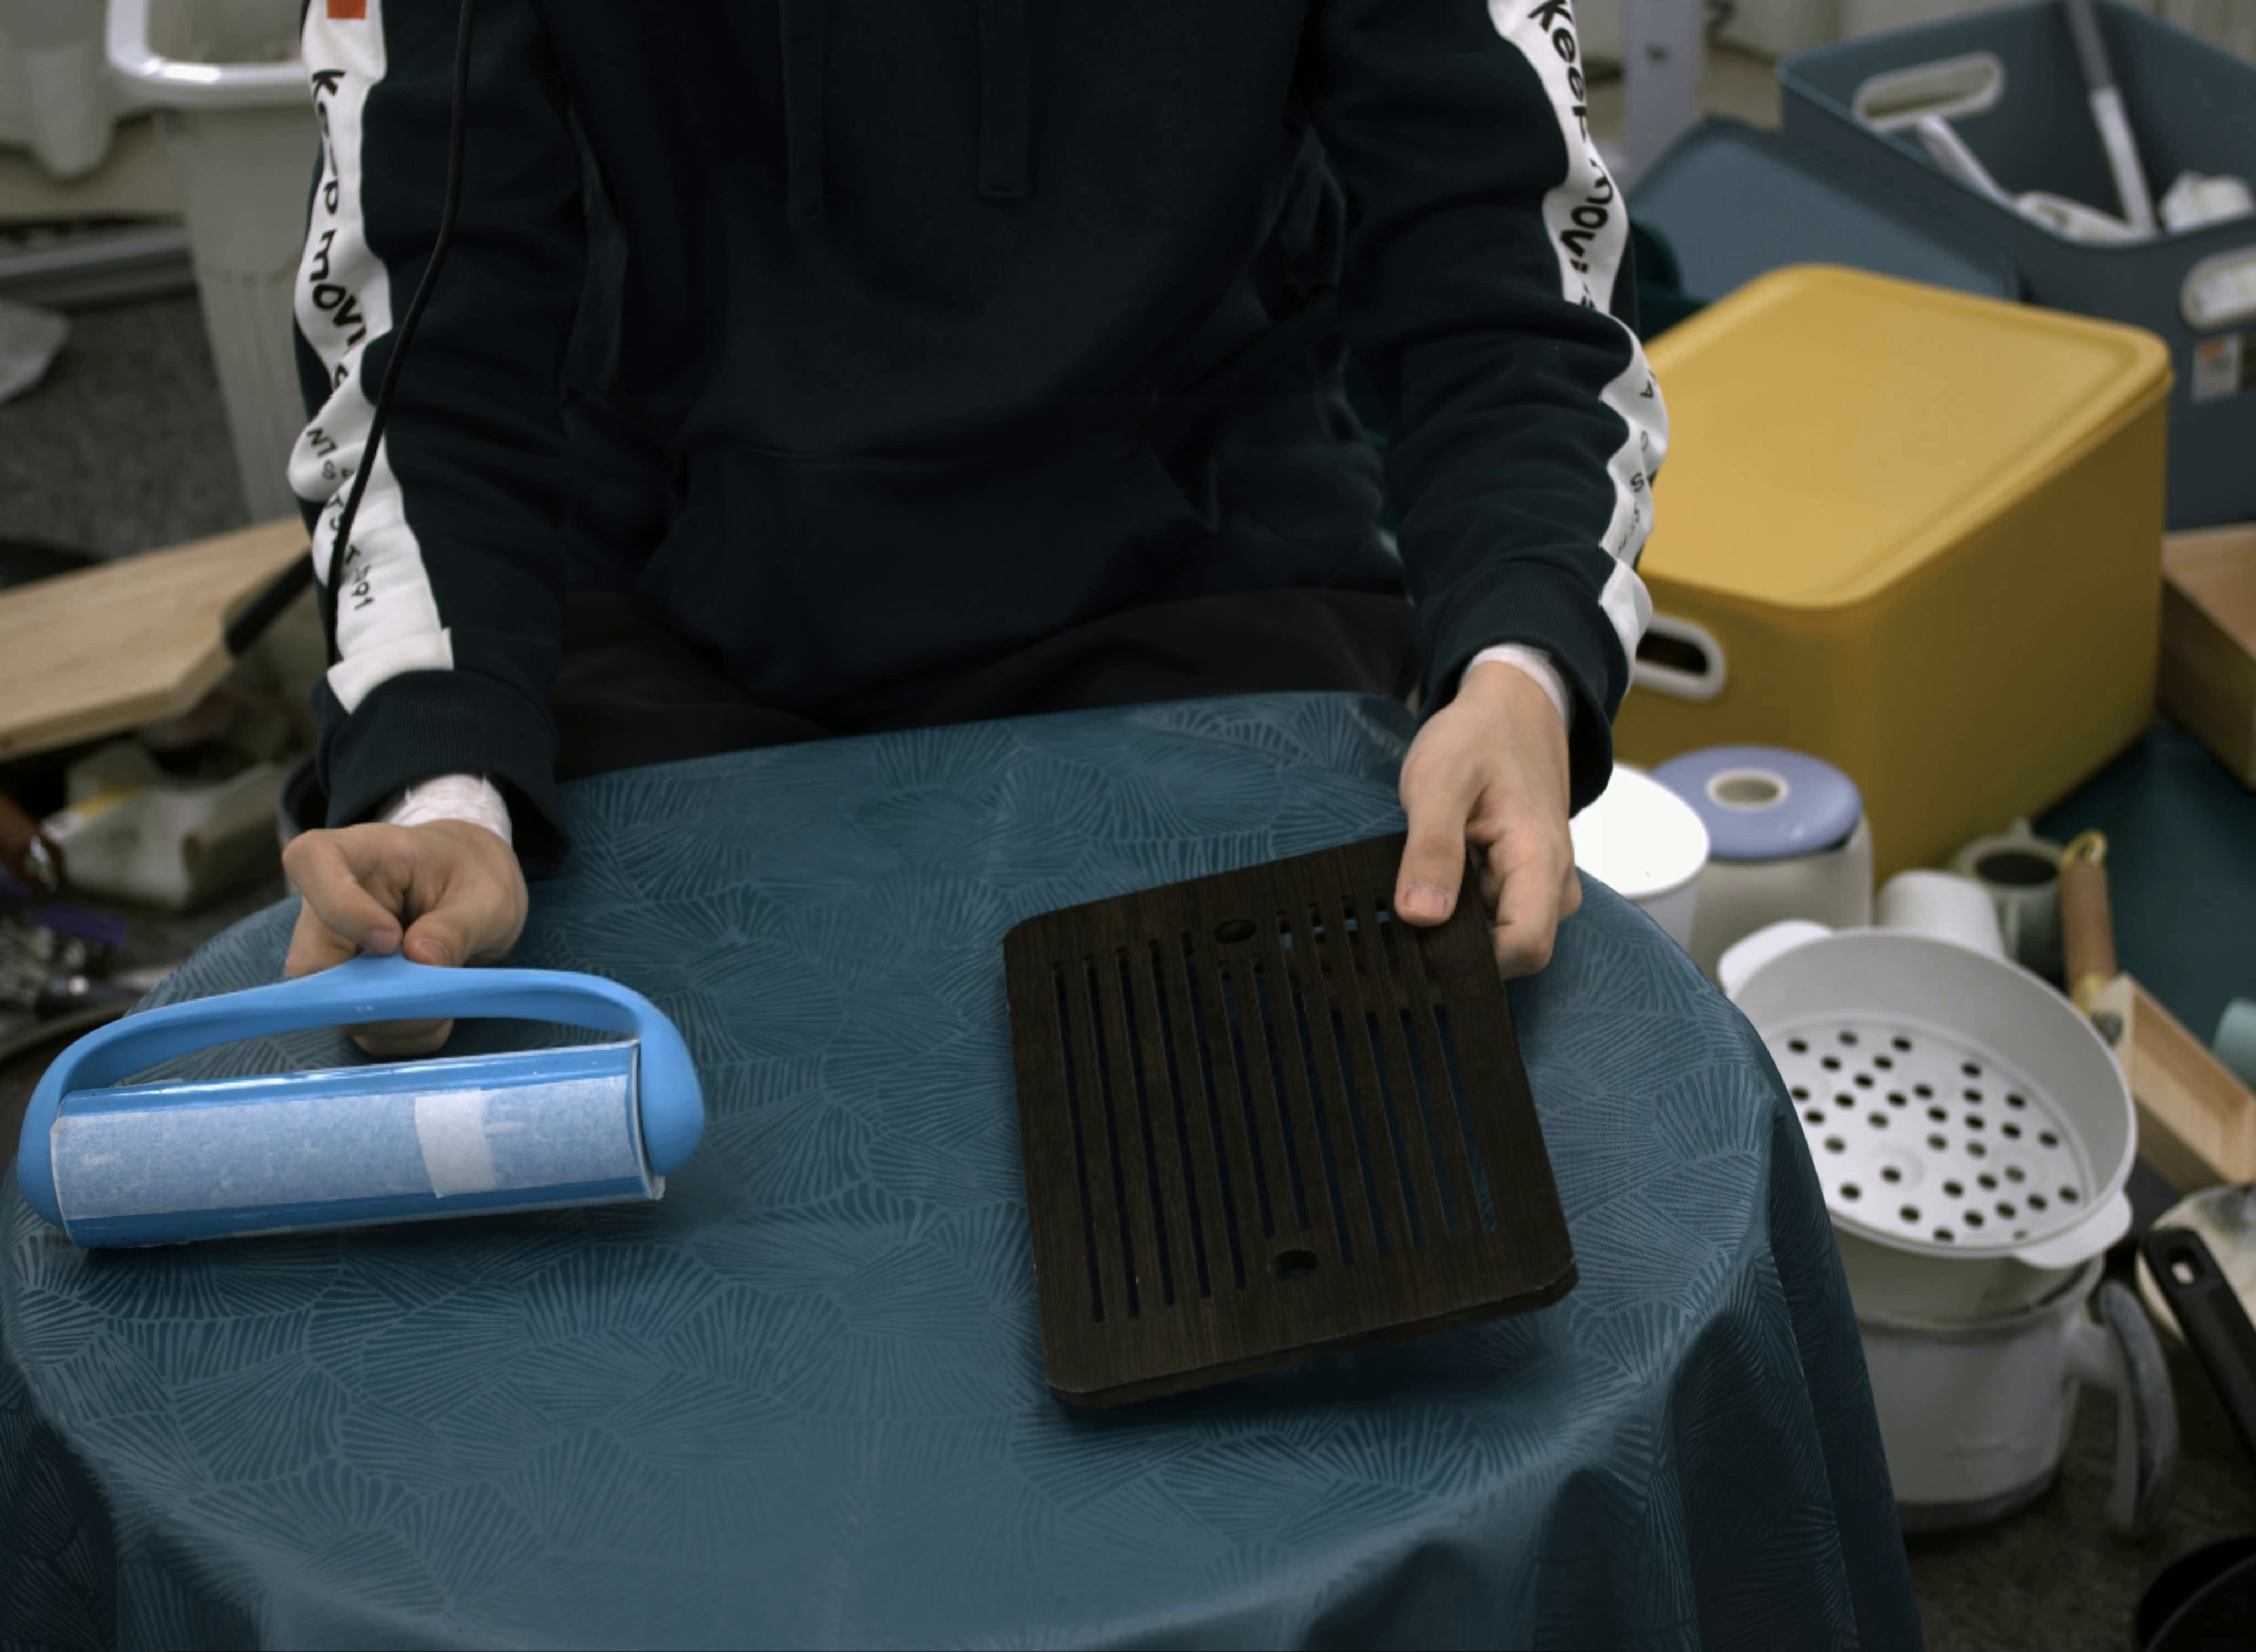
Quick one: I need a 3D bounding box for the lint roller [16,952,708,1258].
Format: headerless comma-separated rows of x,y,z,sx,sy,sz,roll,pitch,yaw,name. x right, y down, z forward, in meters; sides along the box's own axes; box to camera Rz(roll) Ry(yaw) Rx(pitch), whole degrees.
-0.254,0.078,1.900,0.228,0.067,0.183,-8,27,1,lint roller

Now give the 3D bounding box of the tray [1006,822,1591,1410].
0.050,0.093,1.862,0.169,0.018,0.310,-13,27,2,tray
